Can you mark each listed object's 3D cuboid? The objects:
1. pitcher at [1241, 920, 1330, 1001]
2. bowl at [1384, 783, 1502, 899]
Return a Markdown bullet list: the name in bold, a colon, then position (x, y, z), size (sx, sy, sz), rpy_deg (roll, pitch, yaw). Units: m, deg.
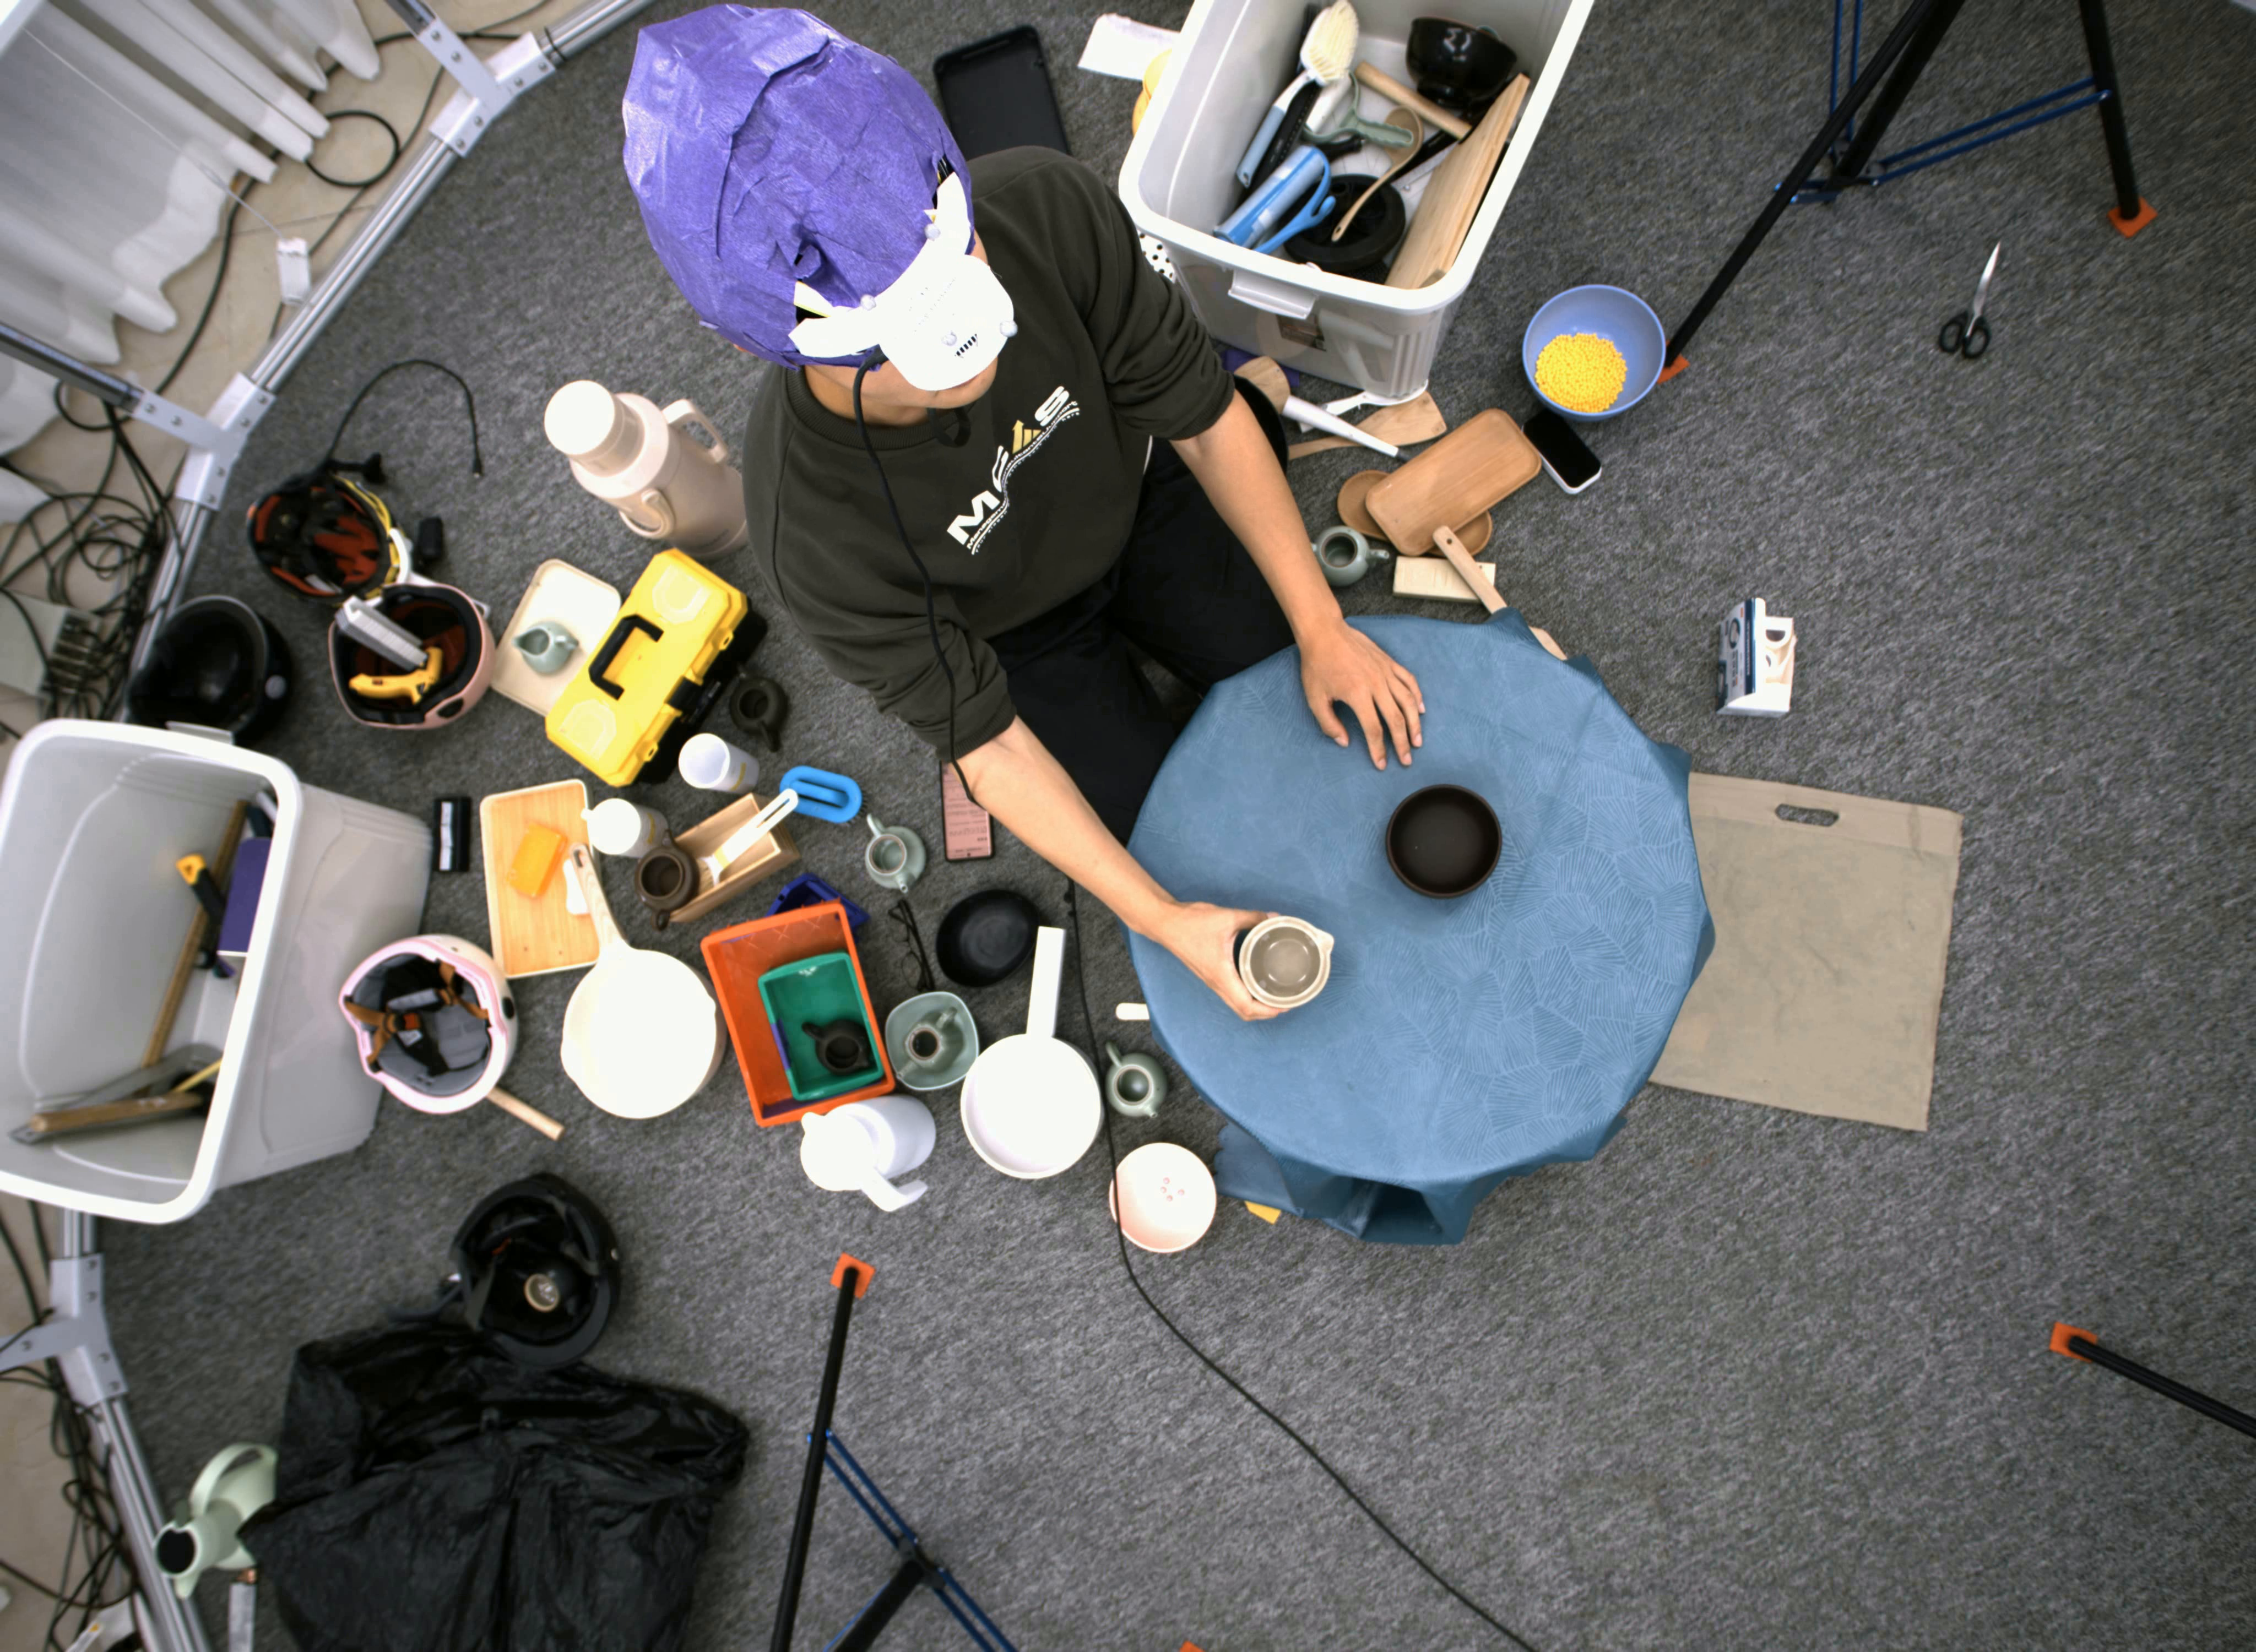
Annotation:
- **pitcher**: position (0.165, 0.137, 1.437), size (0.096, 0.071, 0.083), rpy_deg (-22, 82, 8)
- **bowl**: position (0.323, 0.015, 1.417), size (0.118, 0.070, 0.117), rpy_deg (0, 88, 10)
